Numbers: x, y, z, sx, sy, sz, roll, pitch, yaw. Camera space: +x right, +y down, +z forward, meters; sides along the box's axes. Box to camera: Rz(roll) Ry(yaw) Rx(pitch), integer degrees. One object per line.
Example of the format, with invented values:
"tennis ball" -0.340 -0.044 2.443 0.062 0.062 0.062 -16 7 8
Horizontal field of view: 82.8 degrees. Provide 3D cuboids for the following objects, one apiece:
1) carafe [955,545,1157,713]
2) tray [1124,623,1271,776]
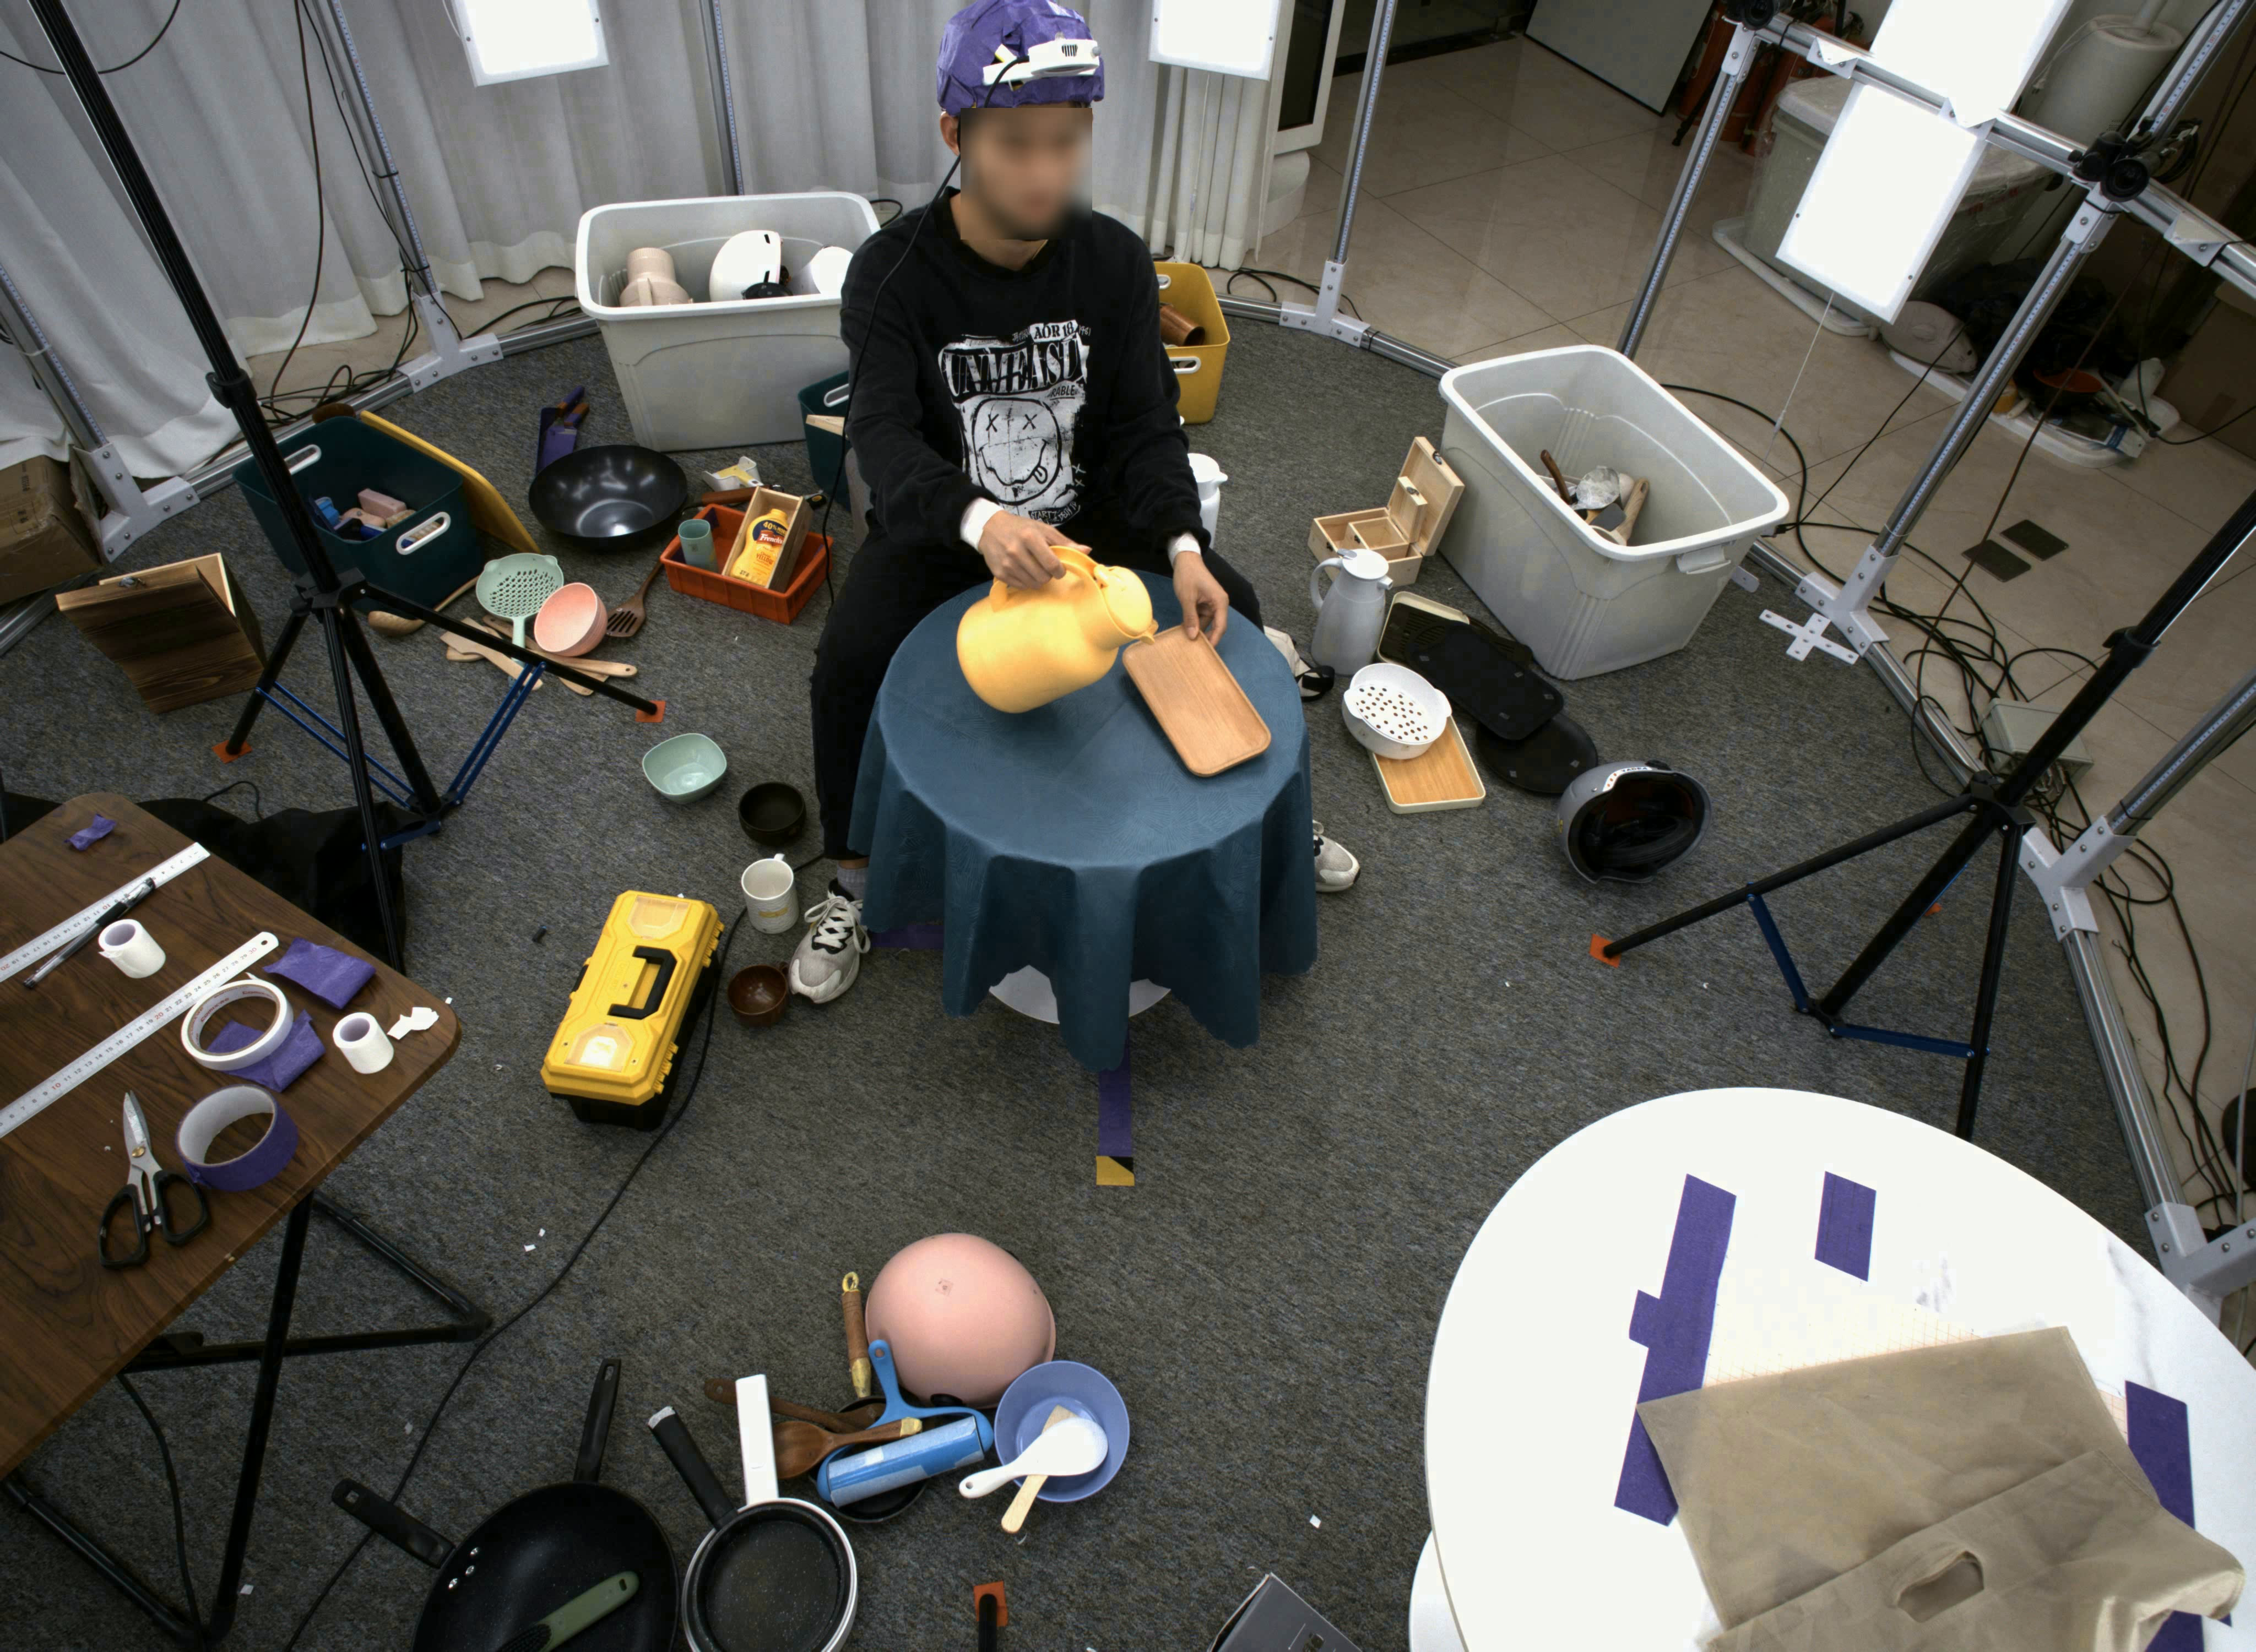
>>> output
"carafe" -0.104 -0.267 1.680 0.259 0.198 0.167 -19 43 34
"tray" 0.095 -0.179 1.797 0.131 0.022 0.256 -21 57 -12
